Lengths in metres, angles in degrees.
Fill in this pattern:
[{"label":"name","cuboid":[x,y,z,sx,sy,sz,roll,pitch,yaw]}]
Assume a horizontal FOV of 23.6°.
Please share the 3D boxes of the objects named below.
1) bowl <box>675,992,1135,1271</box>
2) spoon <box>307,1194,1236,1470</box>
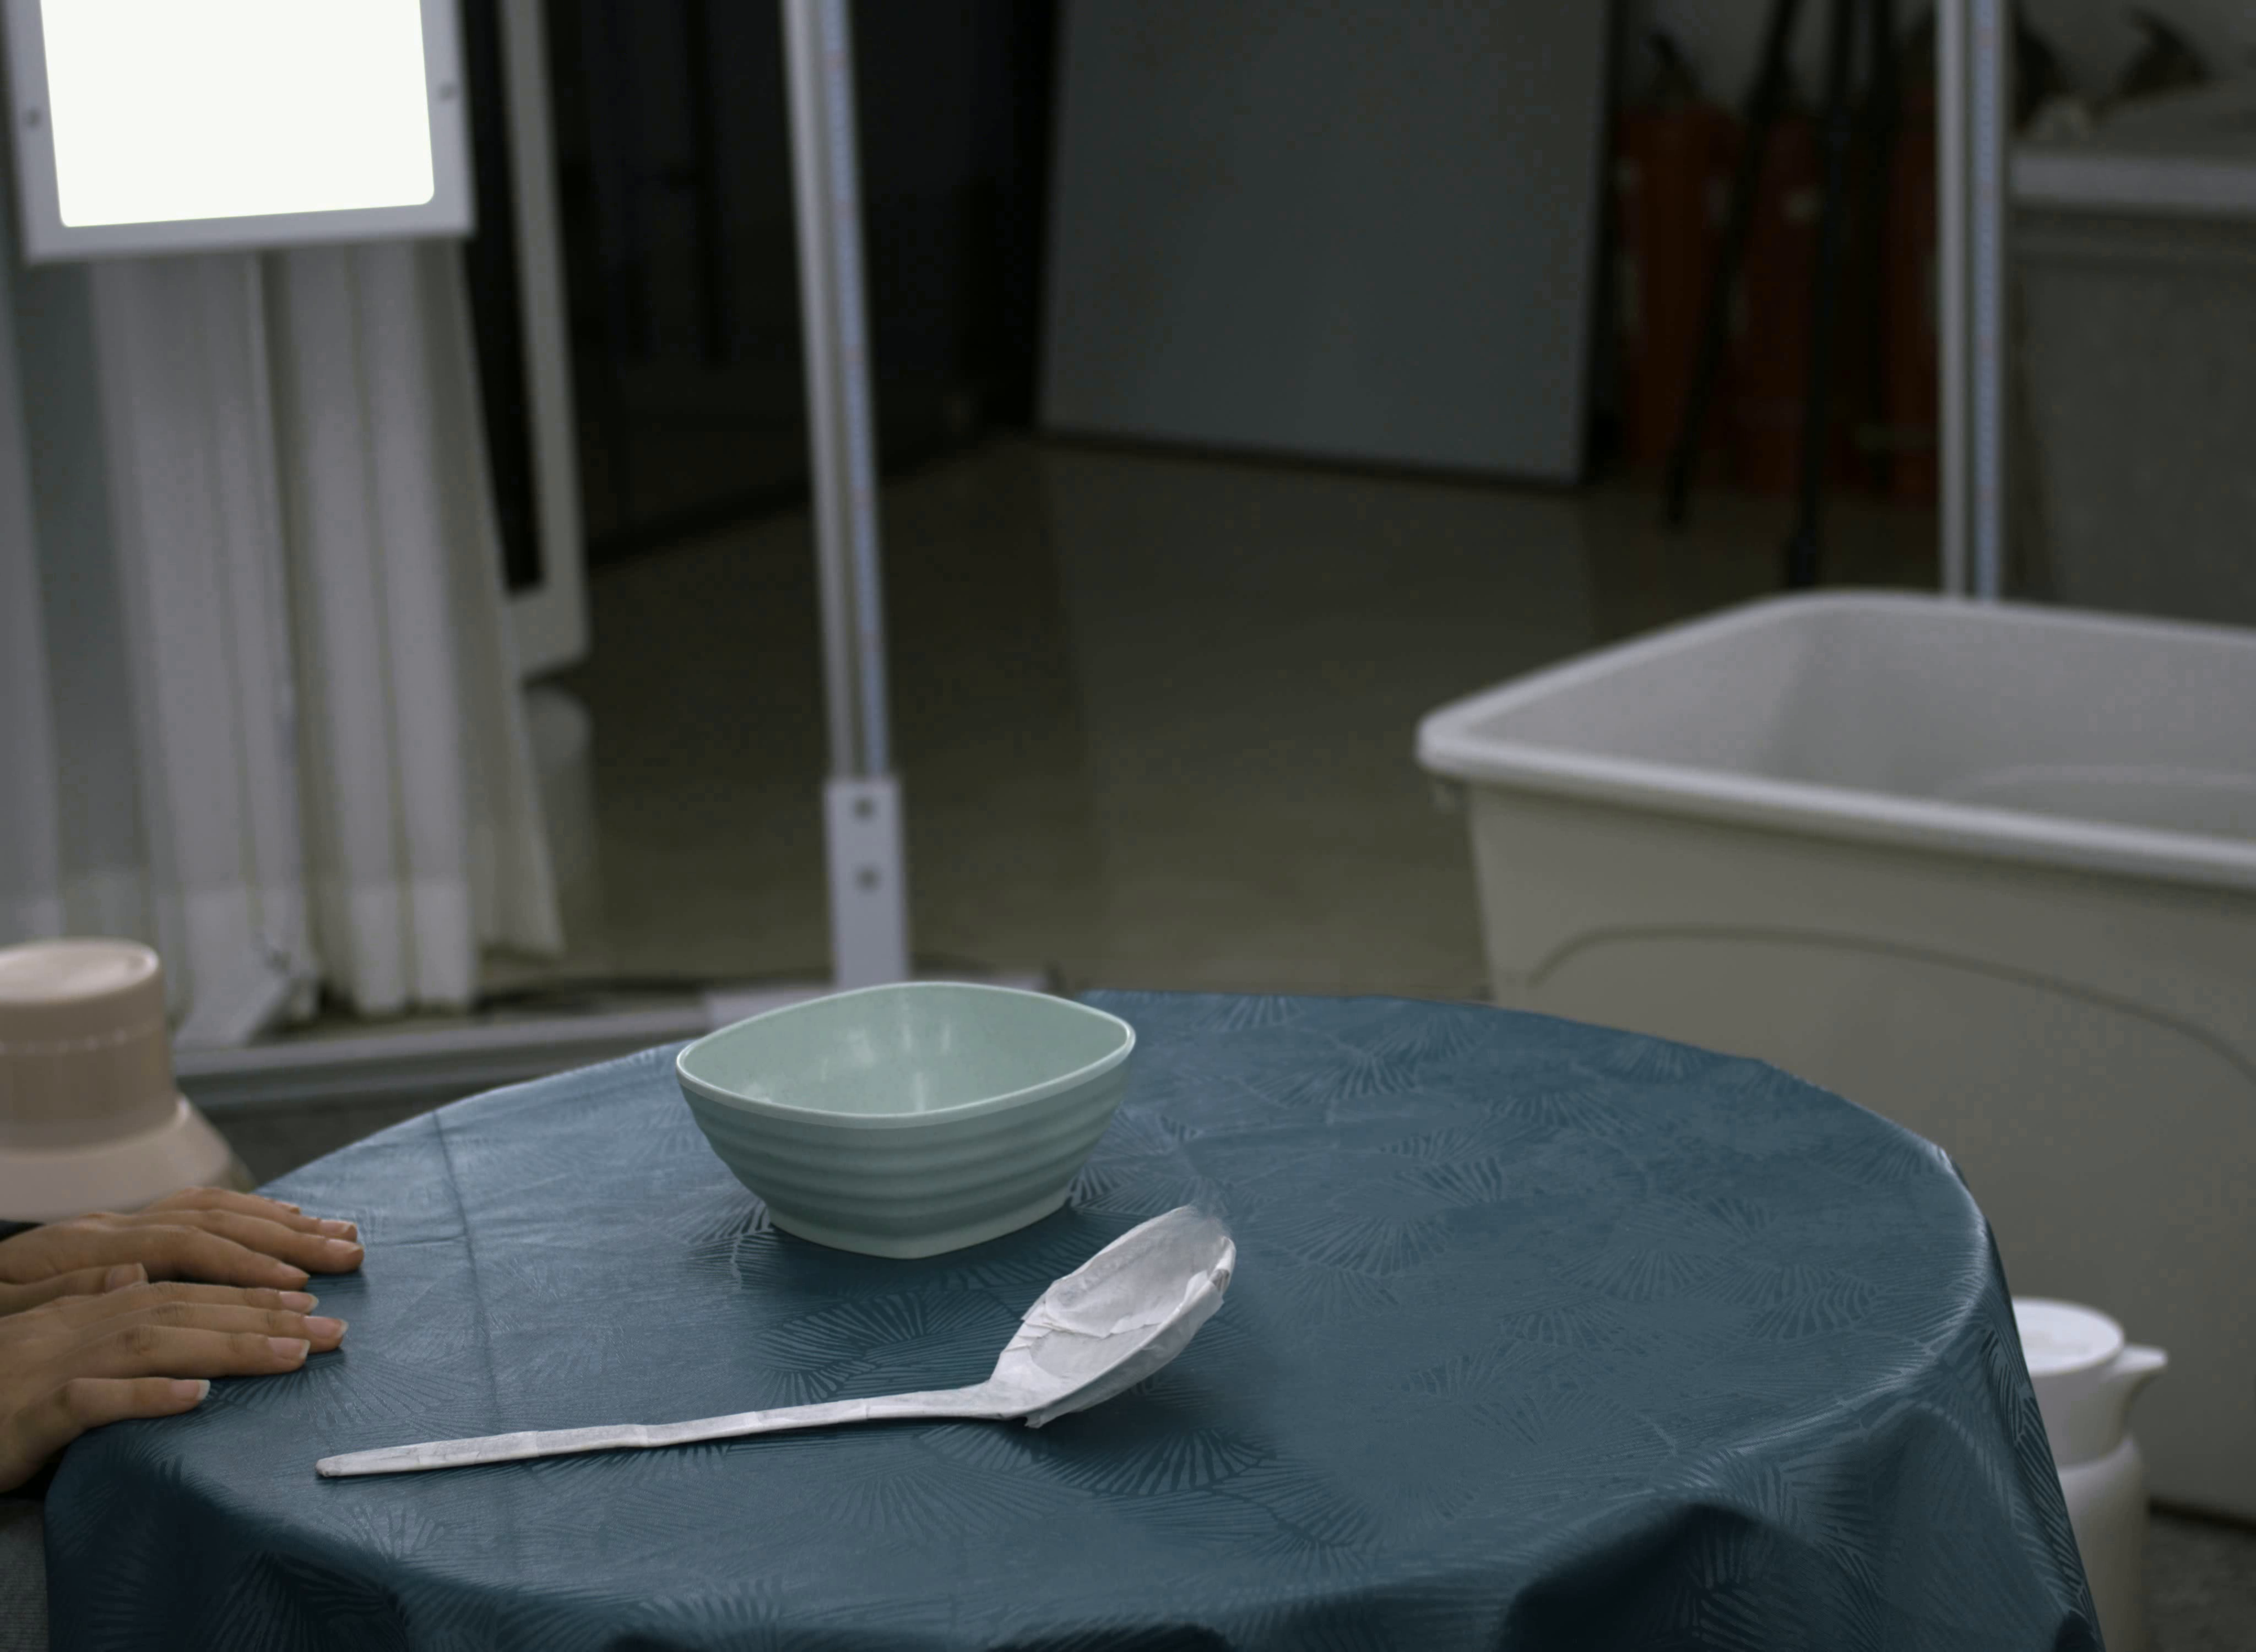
[{"label":"bowl","cuboid":[-0.071,0.102,1.758,0.149,0.059,0.152,-4,14,0]},{"label":"spoon","cuboid":[-0.103,0.147,1.576,0.274,0.060,0.101,-4,9,0]}]
